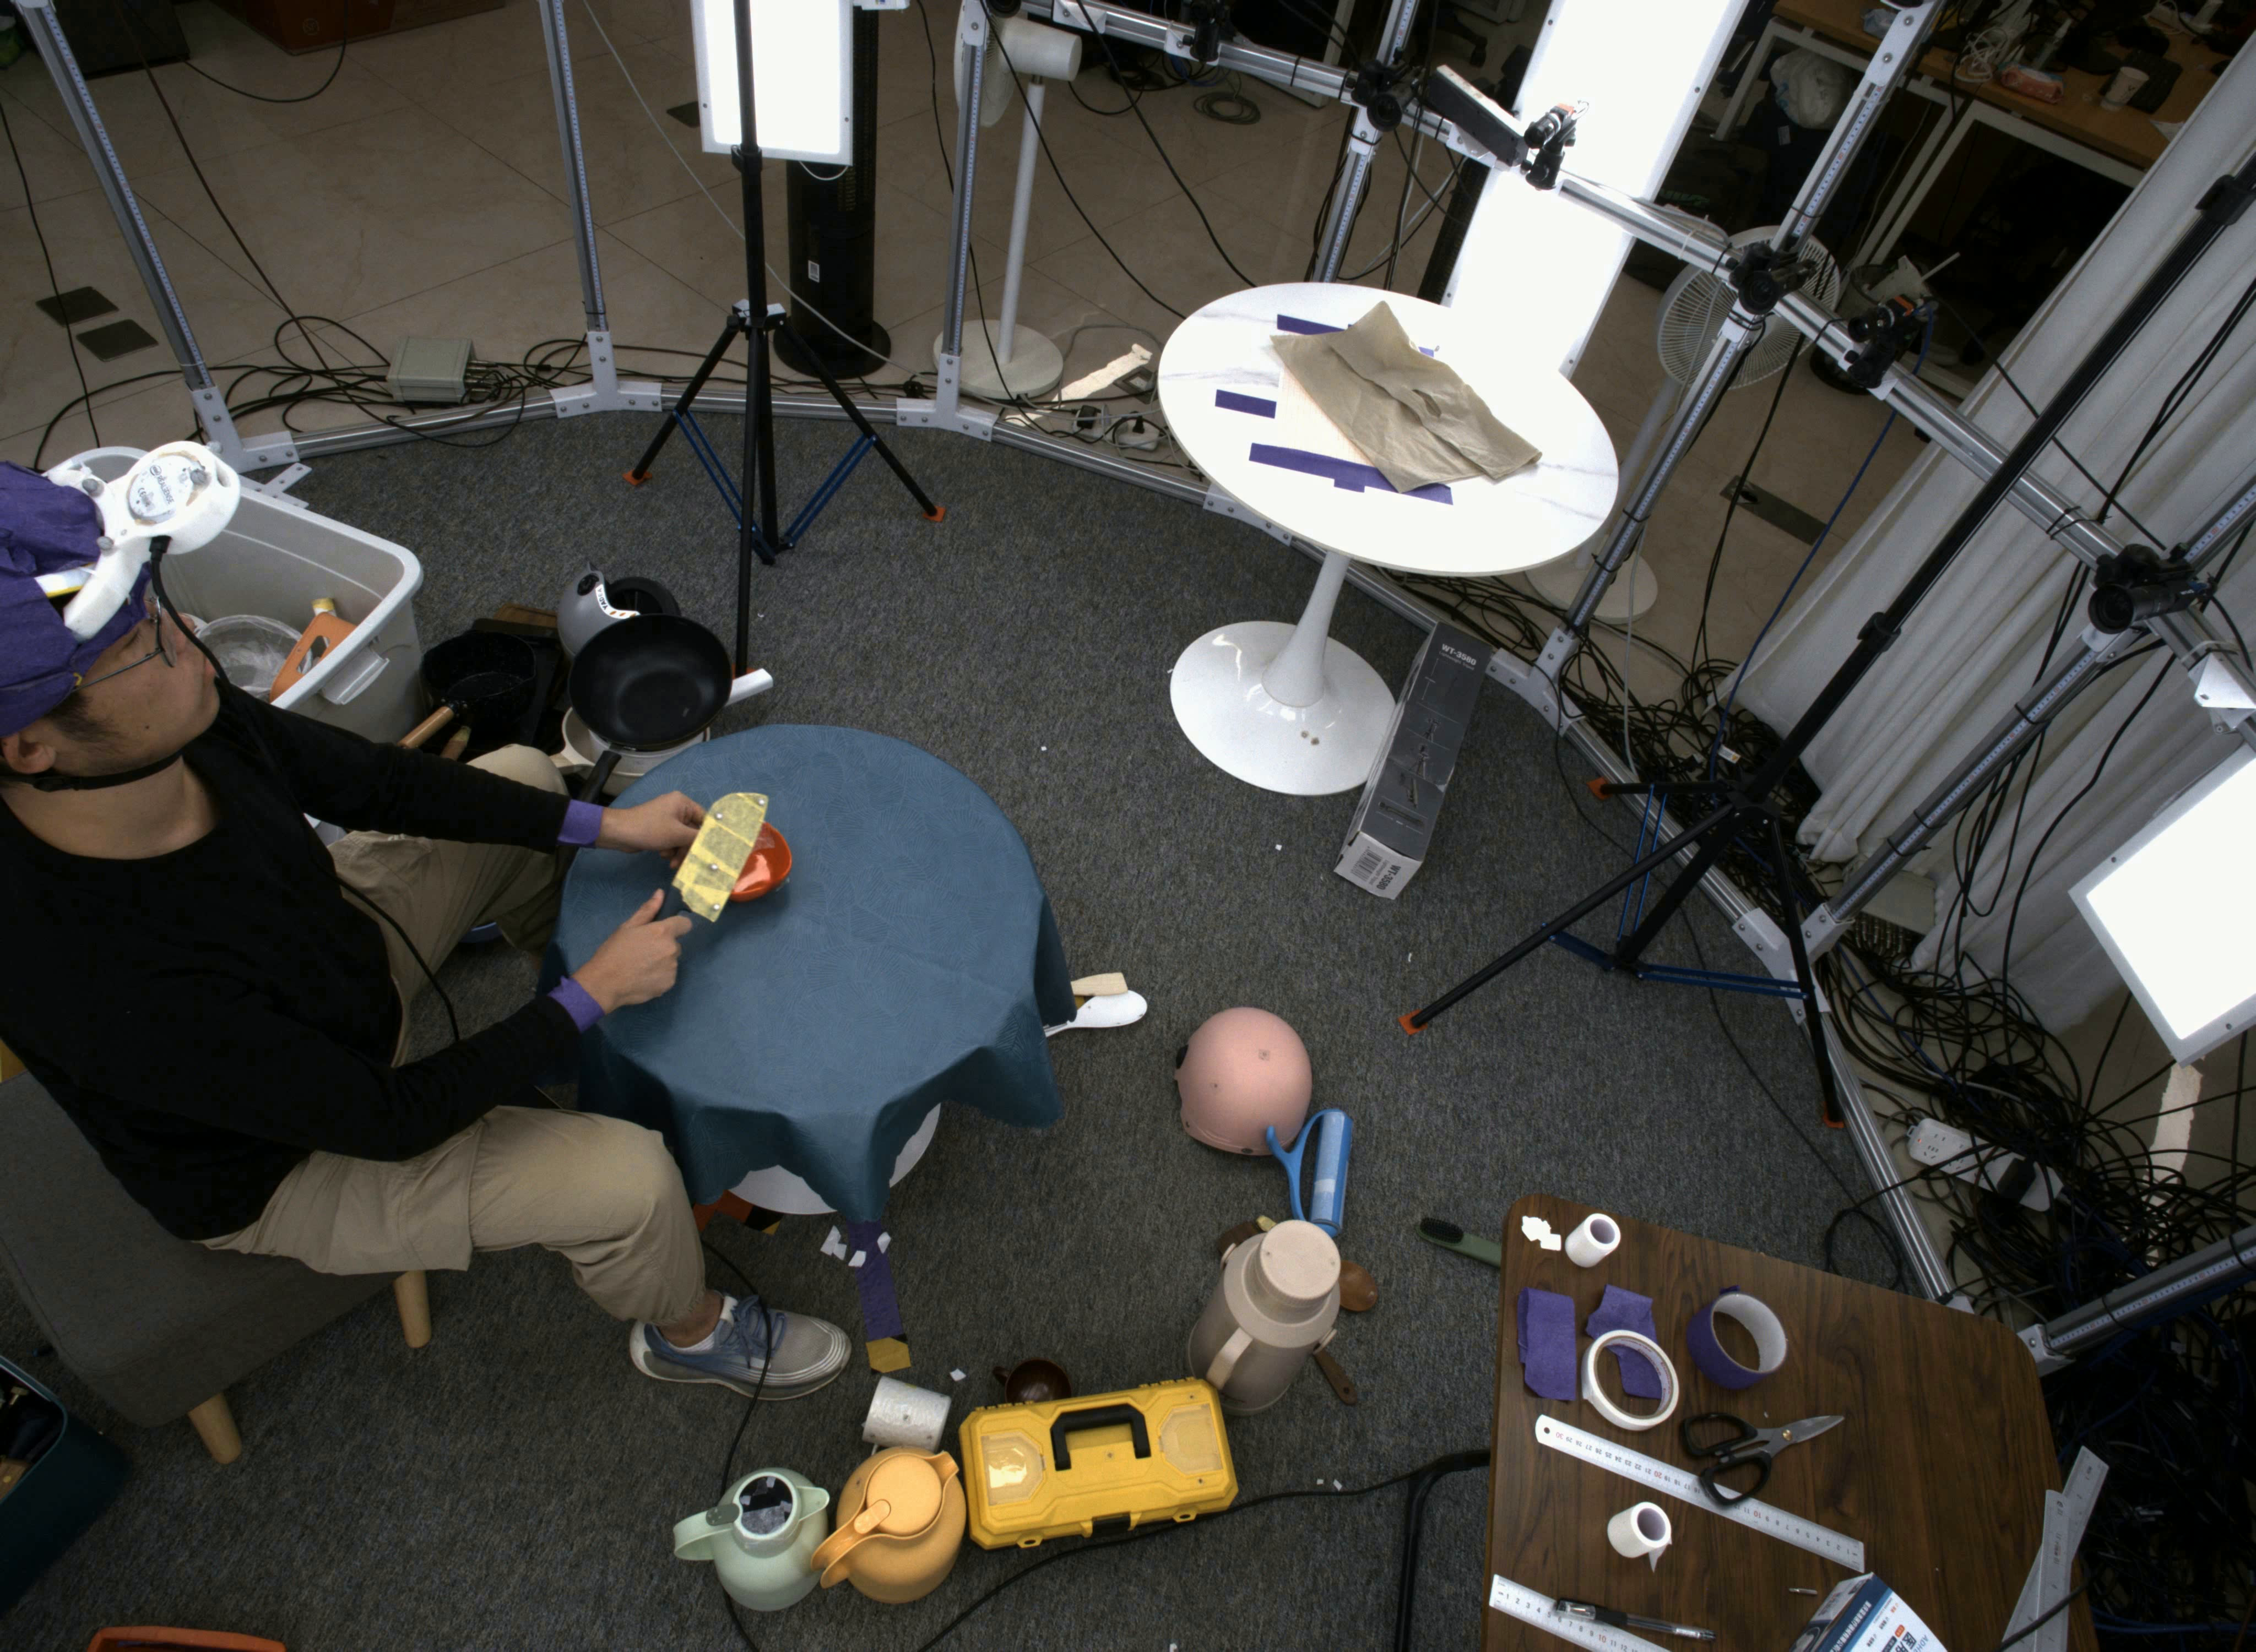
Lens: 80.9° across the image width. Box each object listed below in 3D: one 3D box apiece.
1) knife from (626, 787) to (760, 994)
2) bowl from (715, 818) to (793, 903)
[{"bbox_3d":[-0.521,0.076,1.551,0.084,0.026,0.289,40,63,-35],"label":"knife"},{"bbox_3d":[-0.483,0.050,1.634,0.119,0.052,0.117,9,53,-10],"label":"bowl"}]
